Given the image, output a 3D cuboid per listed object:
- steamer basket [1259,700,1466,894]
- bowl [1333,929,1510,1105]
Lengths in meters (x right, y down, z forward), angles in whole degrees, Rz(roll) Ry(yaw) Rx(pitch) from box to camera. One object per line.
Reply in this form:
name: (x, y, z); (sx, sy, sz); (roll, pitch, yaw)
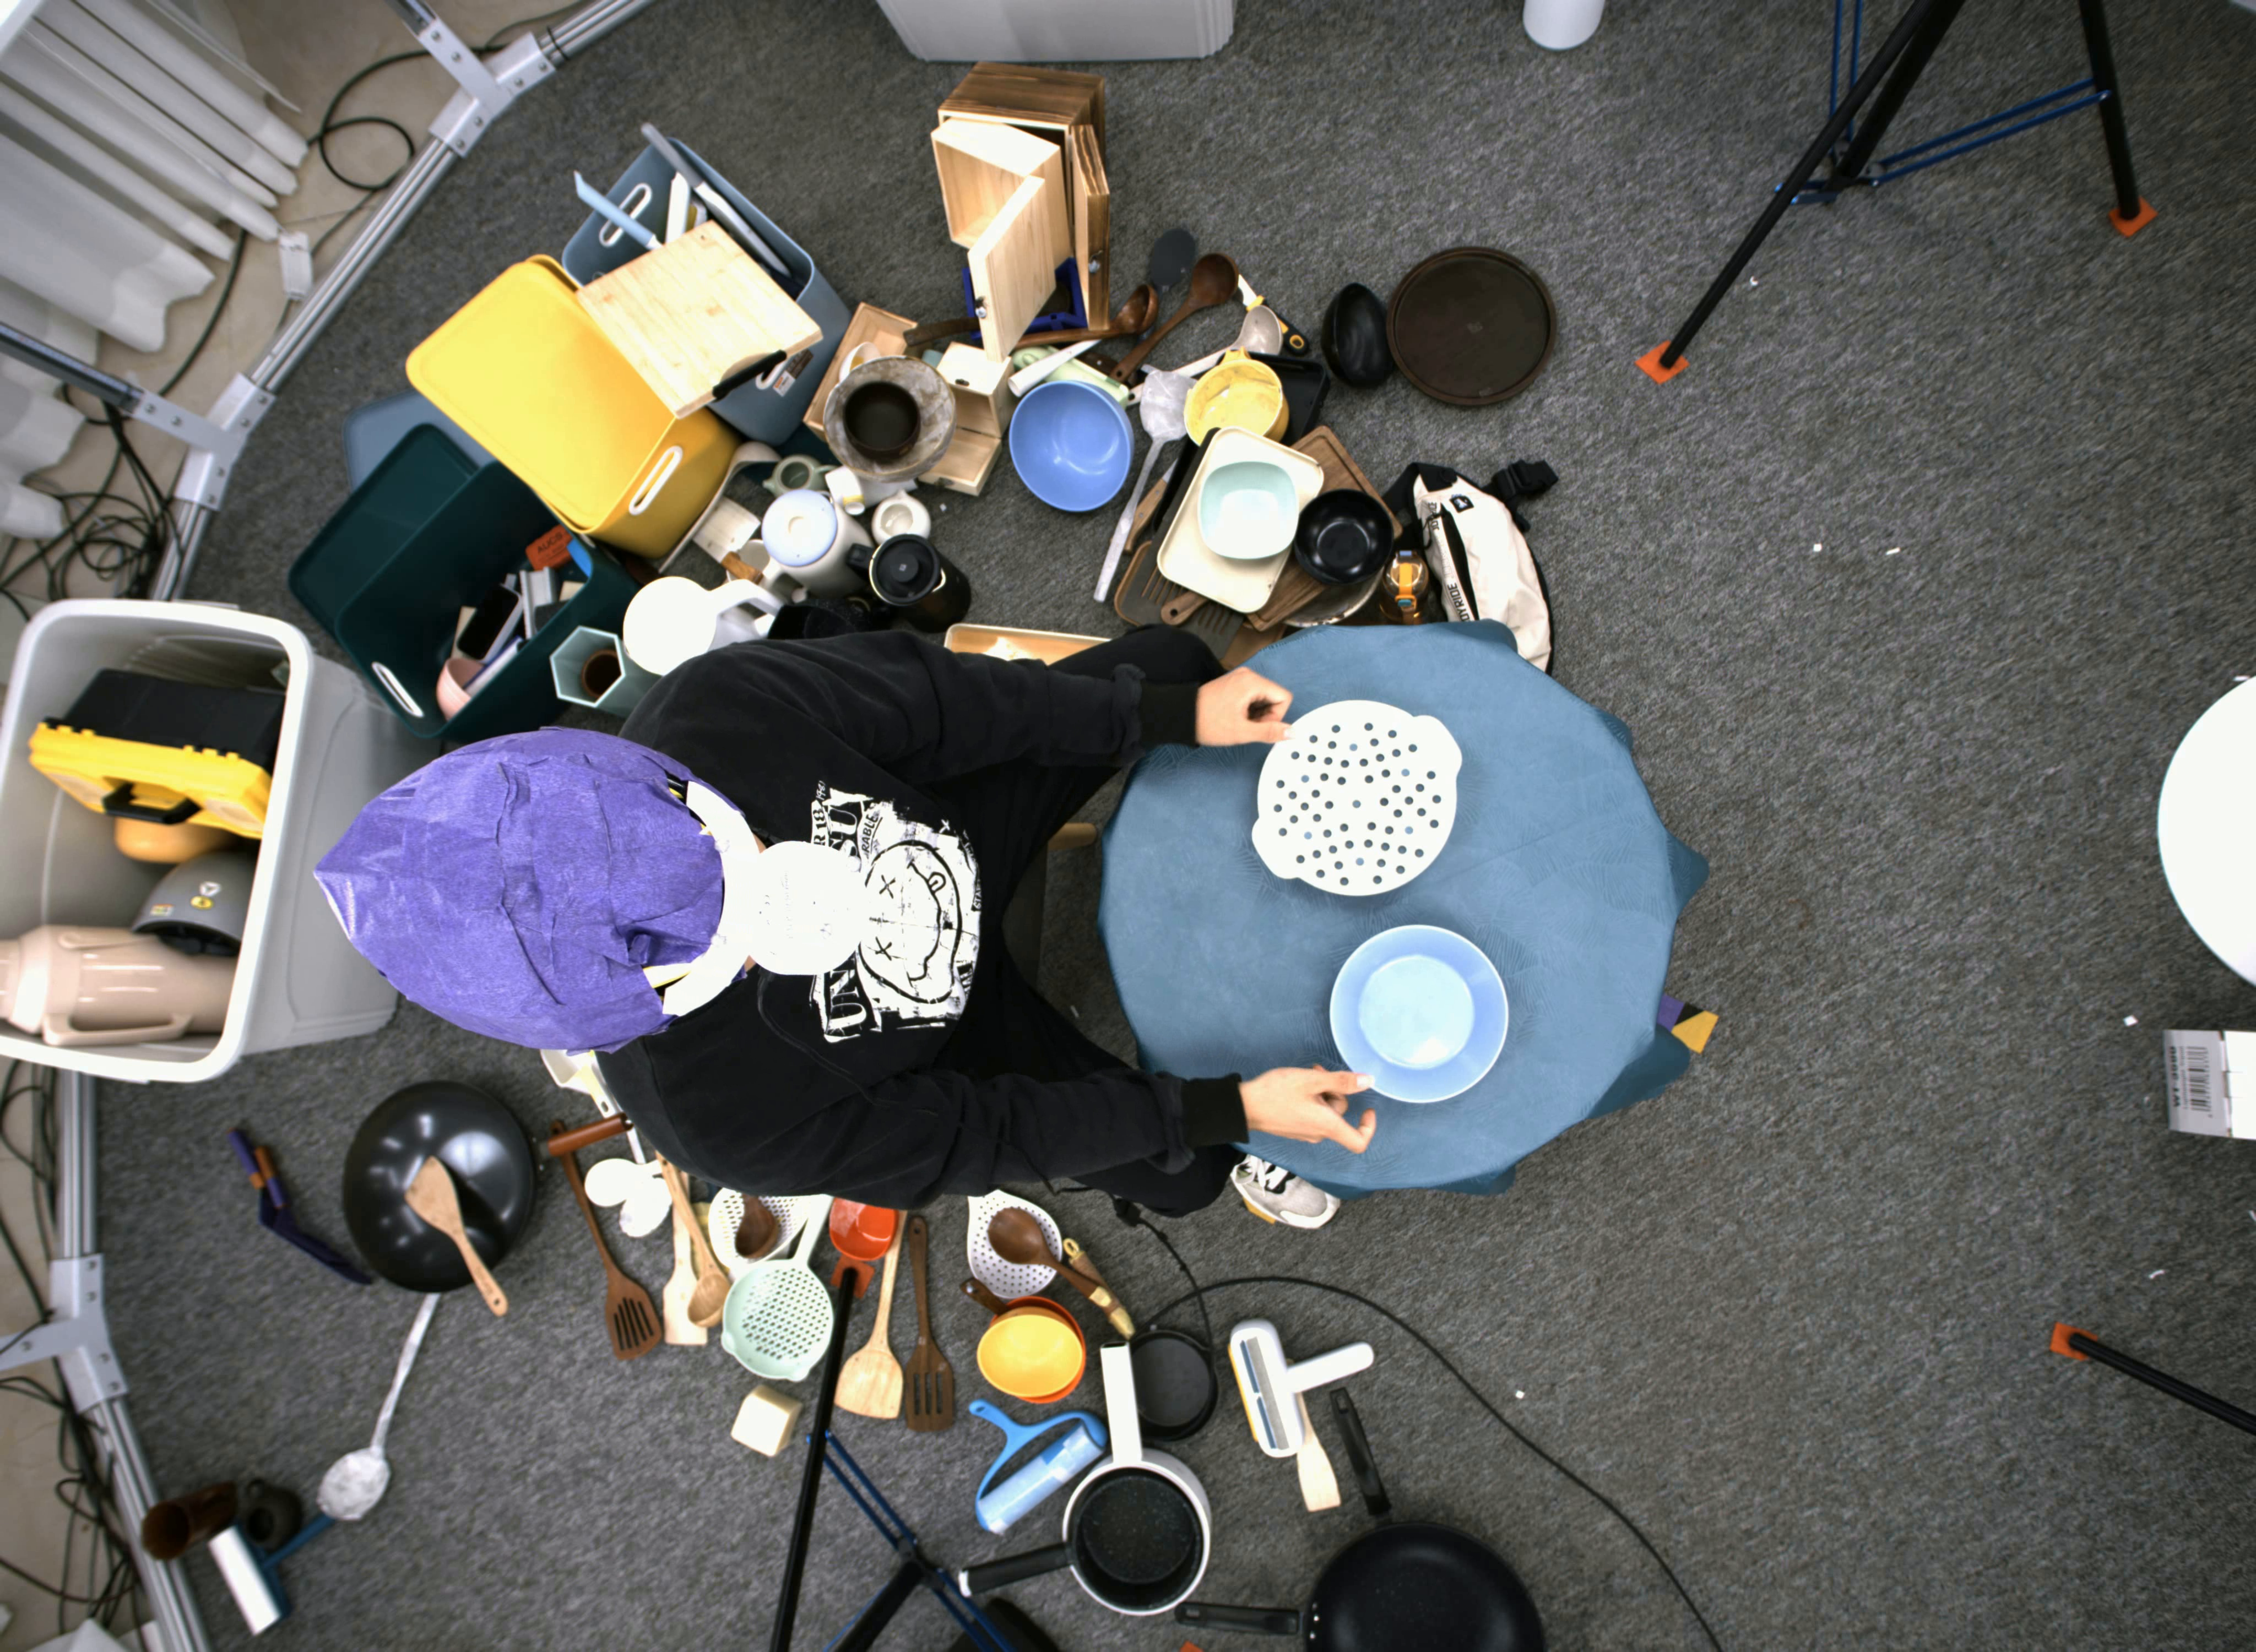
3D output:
steamer basket: (0.244, -0.028, 1.442); (0.231, 0.069, 0.200); (-33, 81, 4)
bowl: (0.299, 0.194, 1.415); (0.177, 0.070, 0.175); (-1, 85, 10)
